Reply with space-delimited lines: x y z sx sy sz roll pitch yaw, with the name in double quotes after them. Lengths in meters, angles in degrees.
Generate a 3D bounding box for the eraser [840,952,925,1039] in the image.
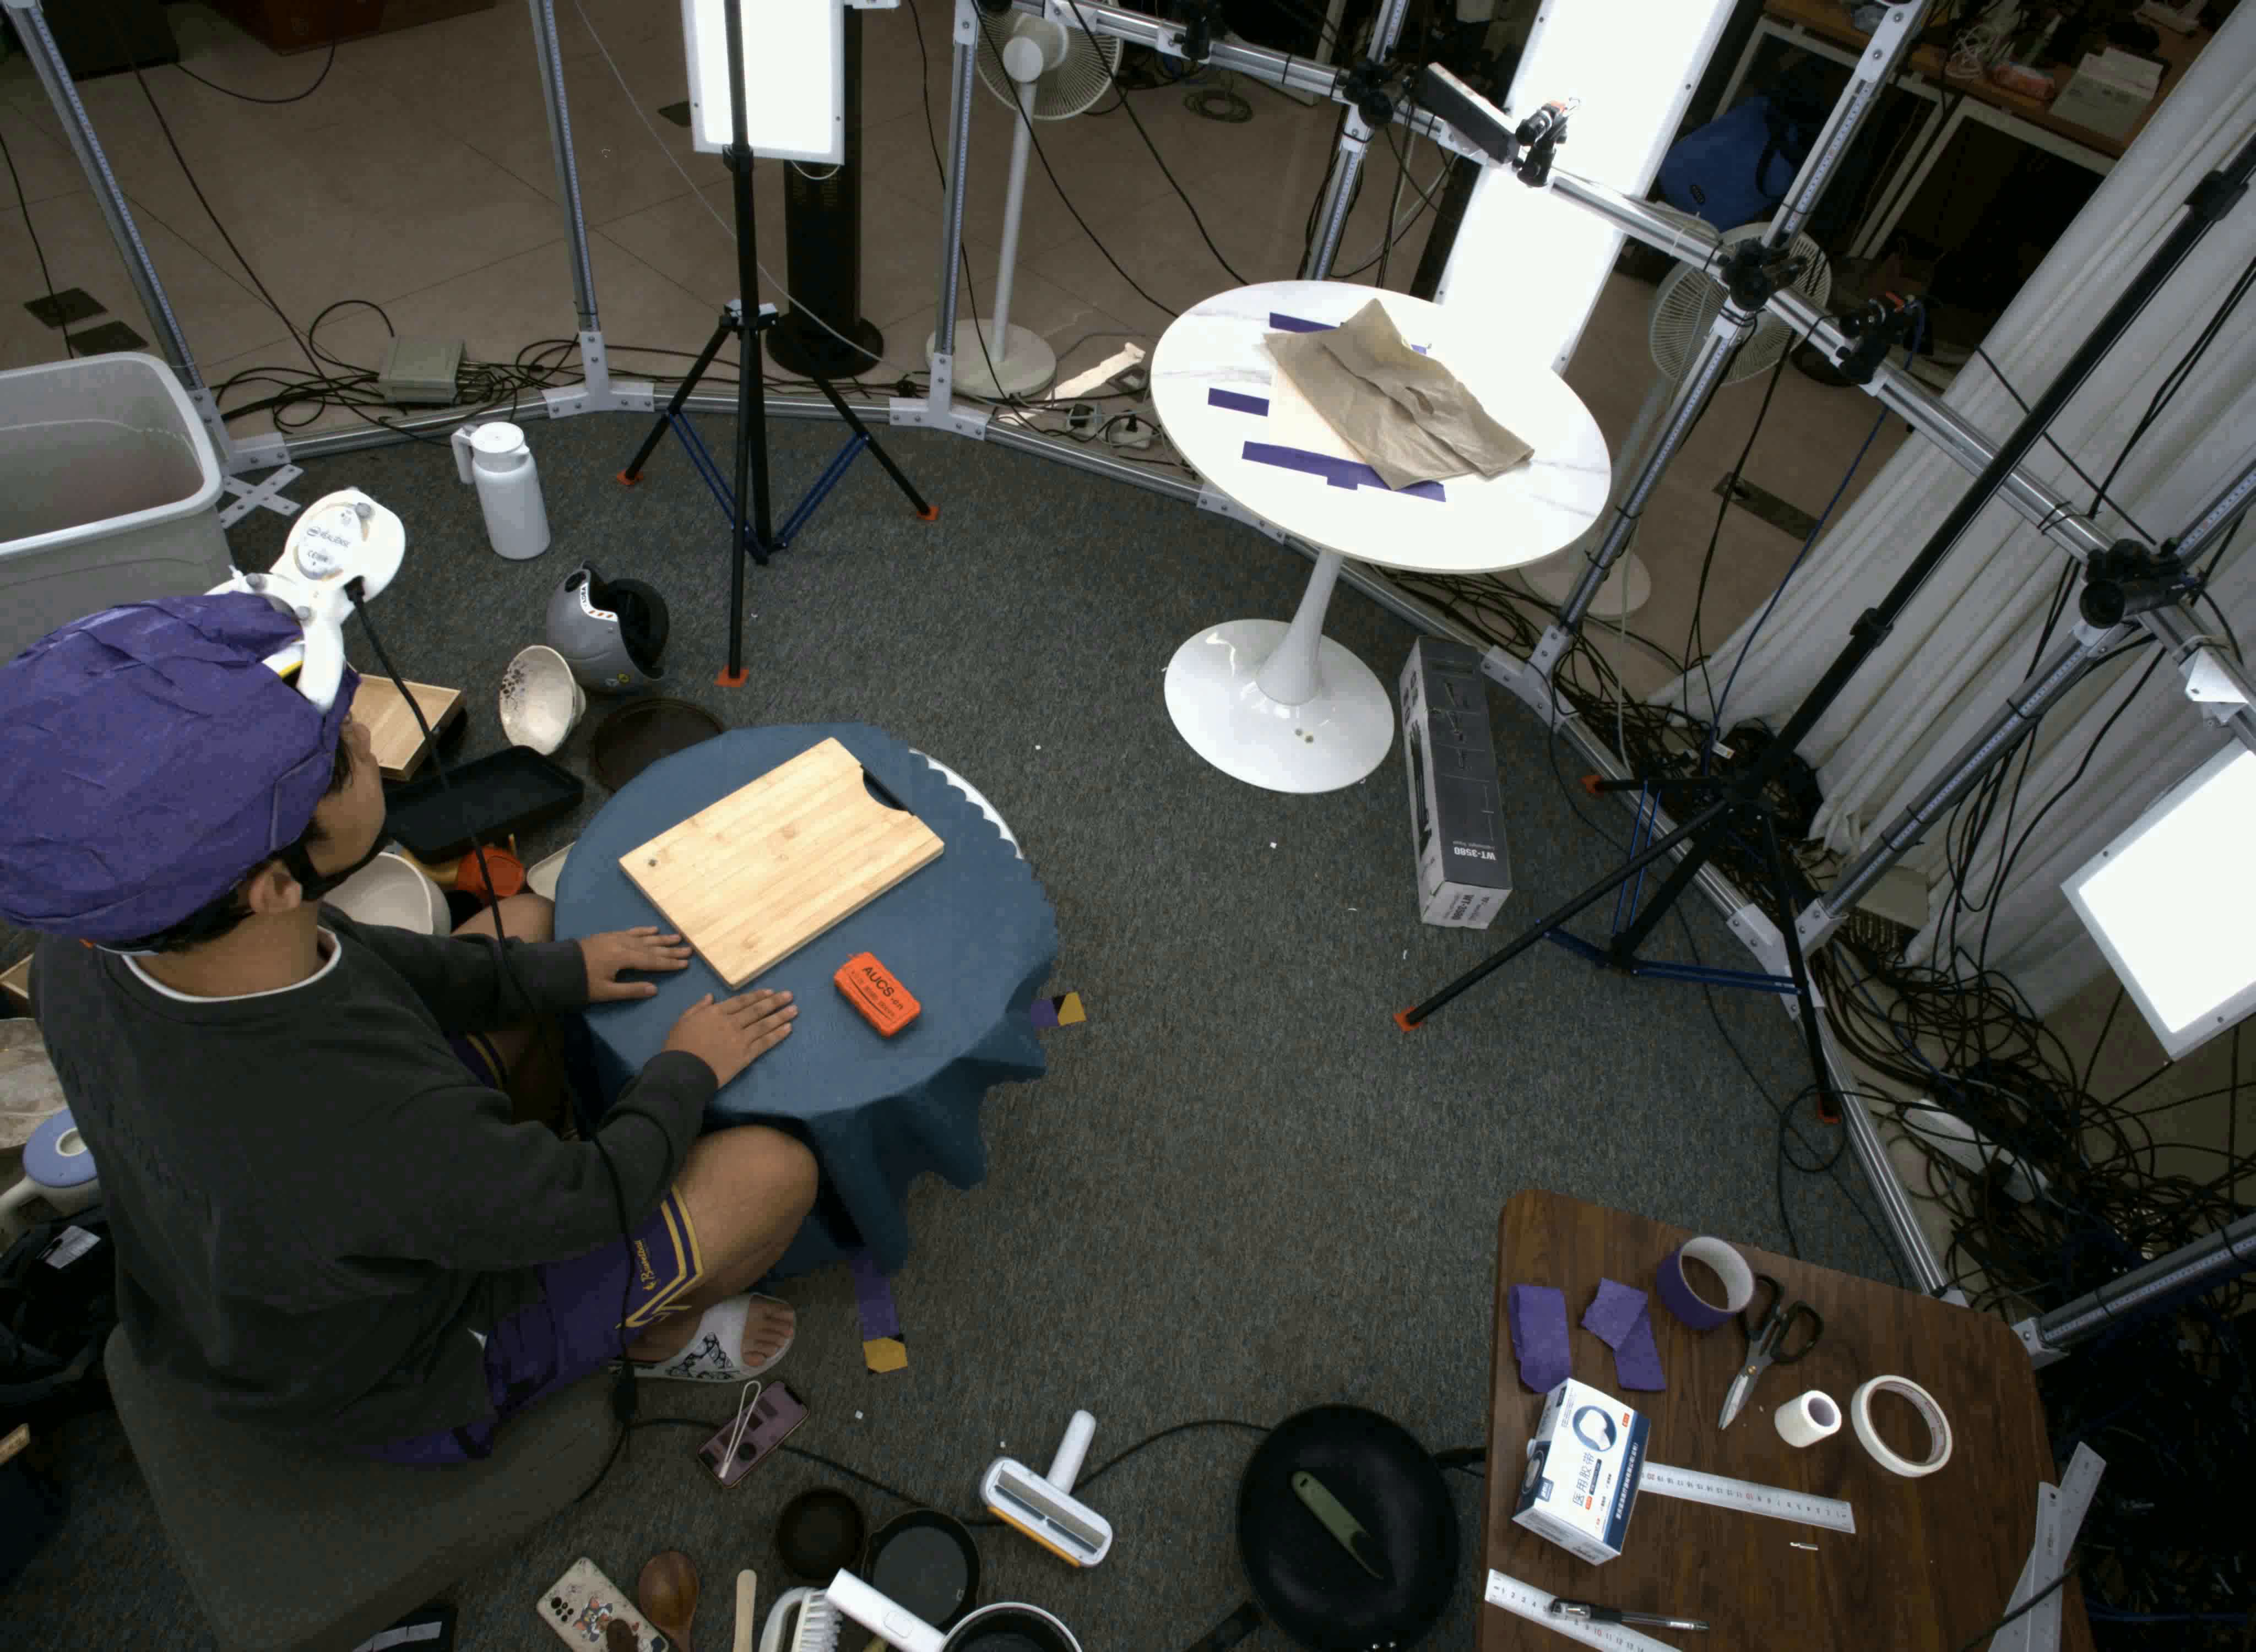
-0.301 0.204 1.592 0.105 0.023 0.059 43 55 19 "eraser"

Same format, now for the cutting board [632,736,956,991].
-0.434 0.036 1.689 0.245 0.024 0.349 42 55 17 "cutting board"
